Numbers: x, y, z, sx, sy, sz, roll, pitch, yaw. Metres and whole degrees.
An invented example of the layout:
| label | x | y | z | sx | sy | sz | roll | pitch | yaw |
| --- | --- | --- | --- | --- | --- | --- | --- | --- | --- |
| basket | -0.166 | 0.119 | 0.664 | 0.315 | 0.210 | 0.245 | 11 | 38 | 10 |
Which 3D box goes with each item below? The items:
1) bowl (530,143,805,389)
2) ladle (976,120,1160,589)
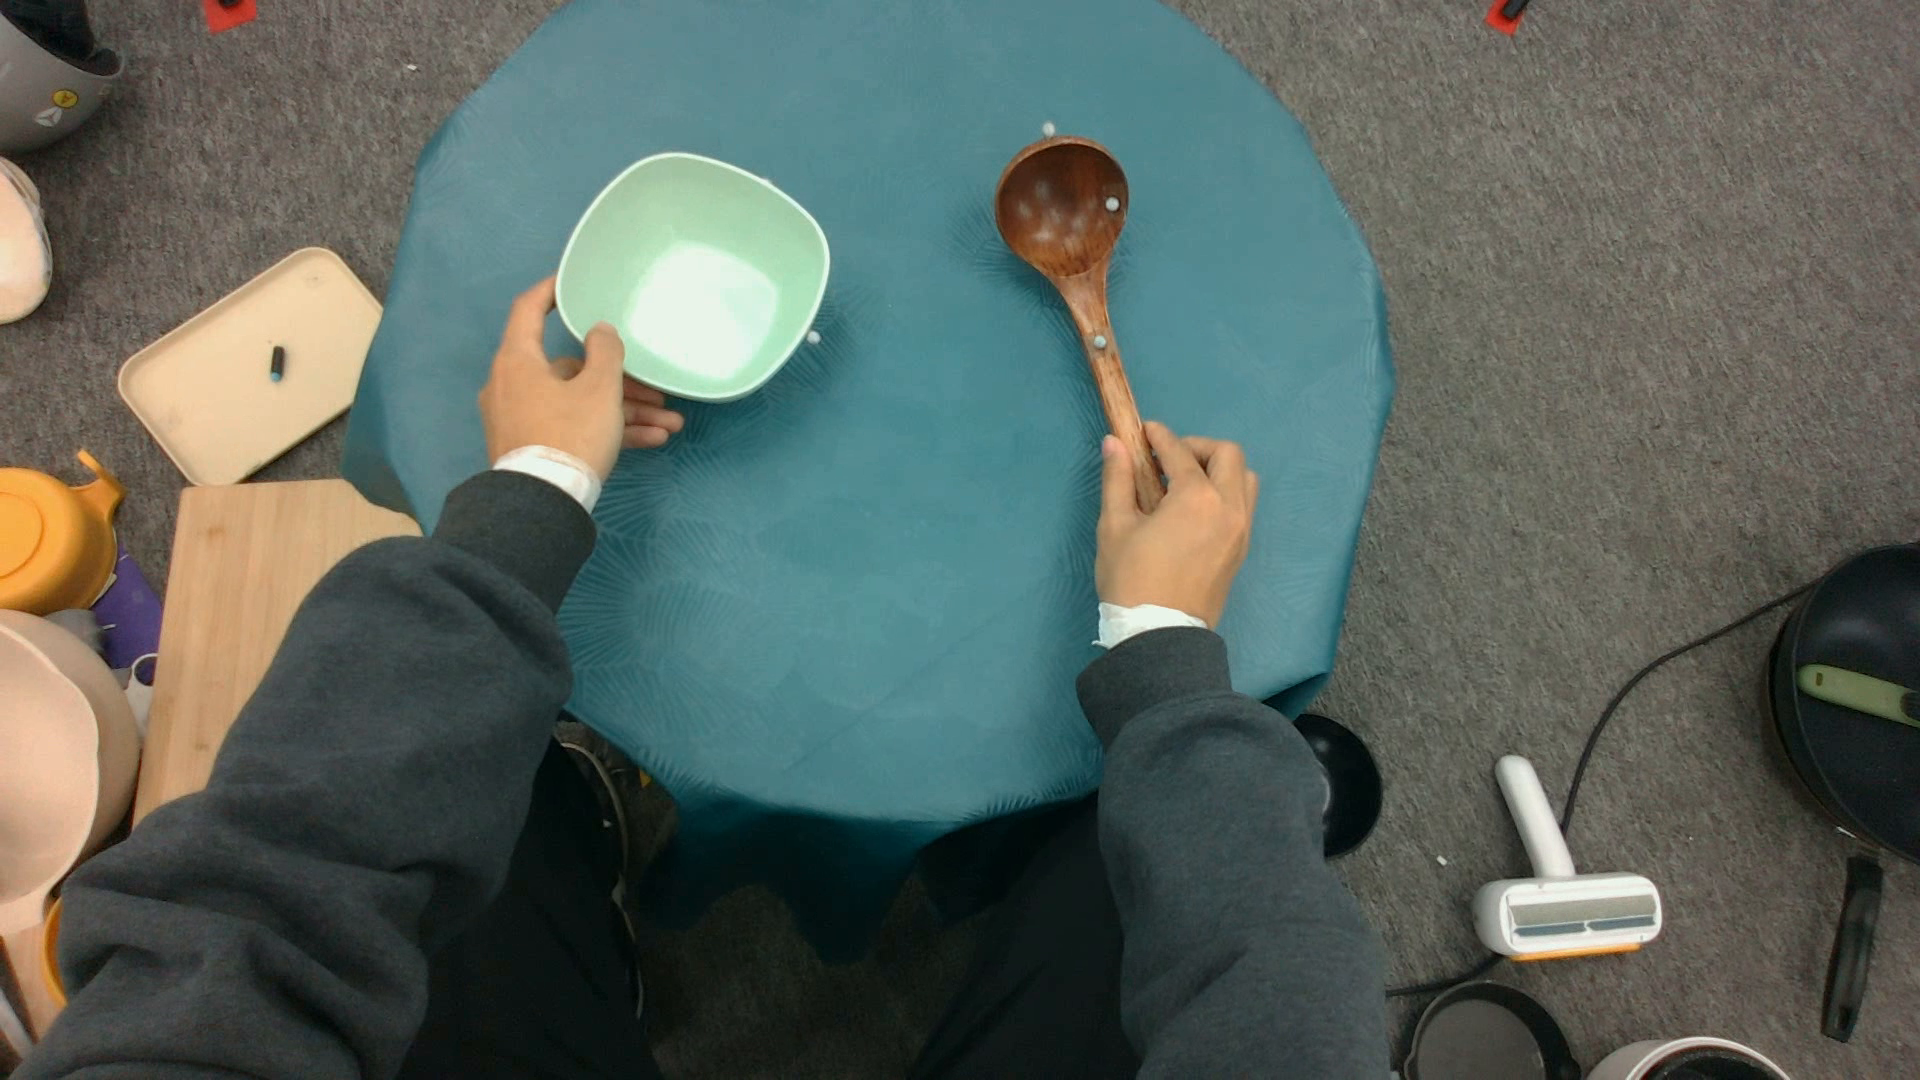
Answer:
| label | x | y | z | sx | sy | sz | roll | pitch | yaw |
| --- | --- | --- | --- | --- | --- | --- | --- | --- | --- |
| bowl | -0.163 | -0.146 | 0.782 | 0.151 | 0.058 | 0.152 | 3 | 71 | -8 |
| ladle | 0.074 | -0.111 | 0.789 | 0.082 | 0.076 | 0.274 | -14 | 73 | 3 |
